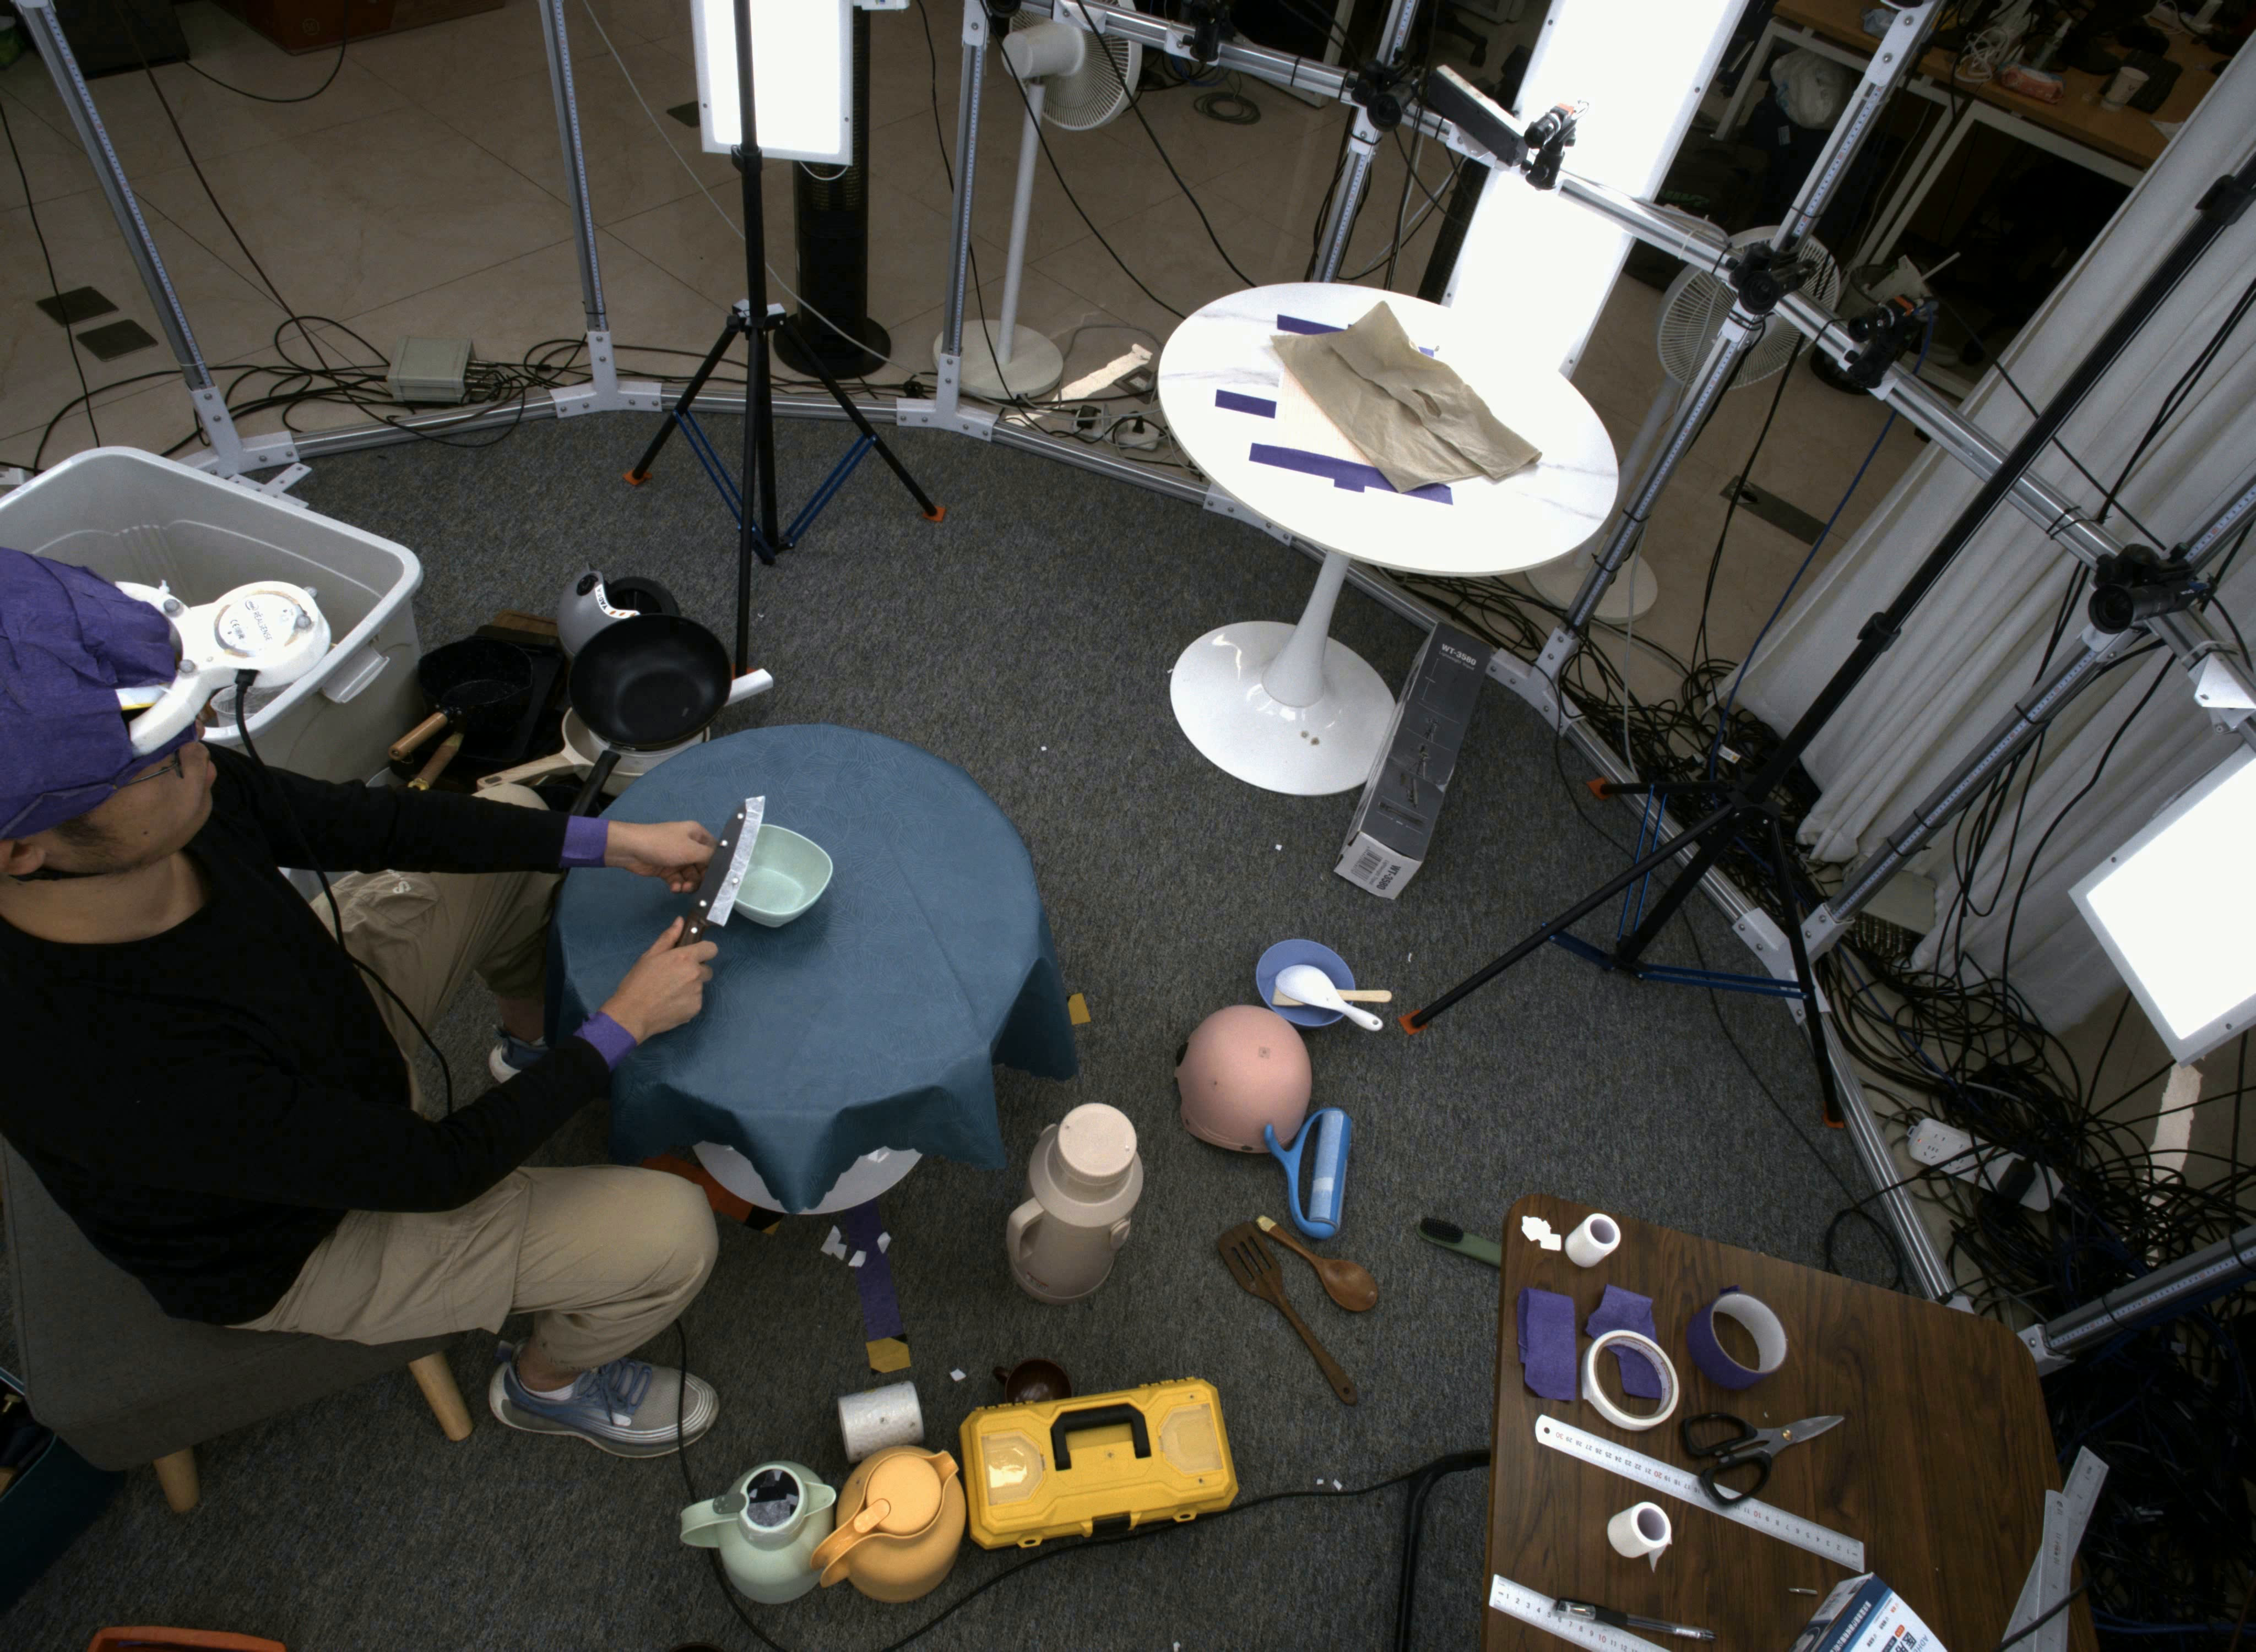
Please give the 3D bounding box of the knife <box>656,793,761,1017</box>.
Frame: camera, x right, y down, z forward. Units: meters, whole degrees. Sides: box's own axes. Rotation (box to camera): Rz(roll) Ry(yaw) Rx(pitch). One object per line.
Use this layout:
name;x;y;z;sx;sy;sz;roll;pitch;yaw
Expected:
knife;-0.496;0.089;1.528;0.051;0.019;0.288;27;70;-25

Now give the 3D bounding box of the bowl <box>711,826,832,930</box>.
bowl;-0.447;0.072;1.611;0.152;0.059;0.148;15;41;-12
